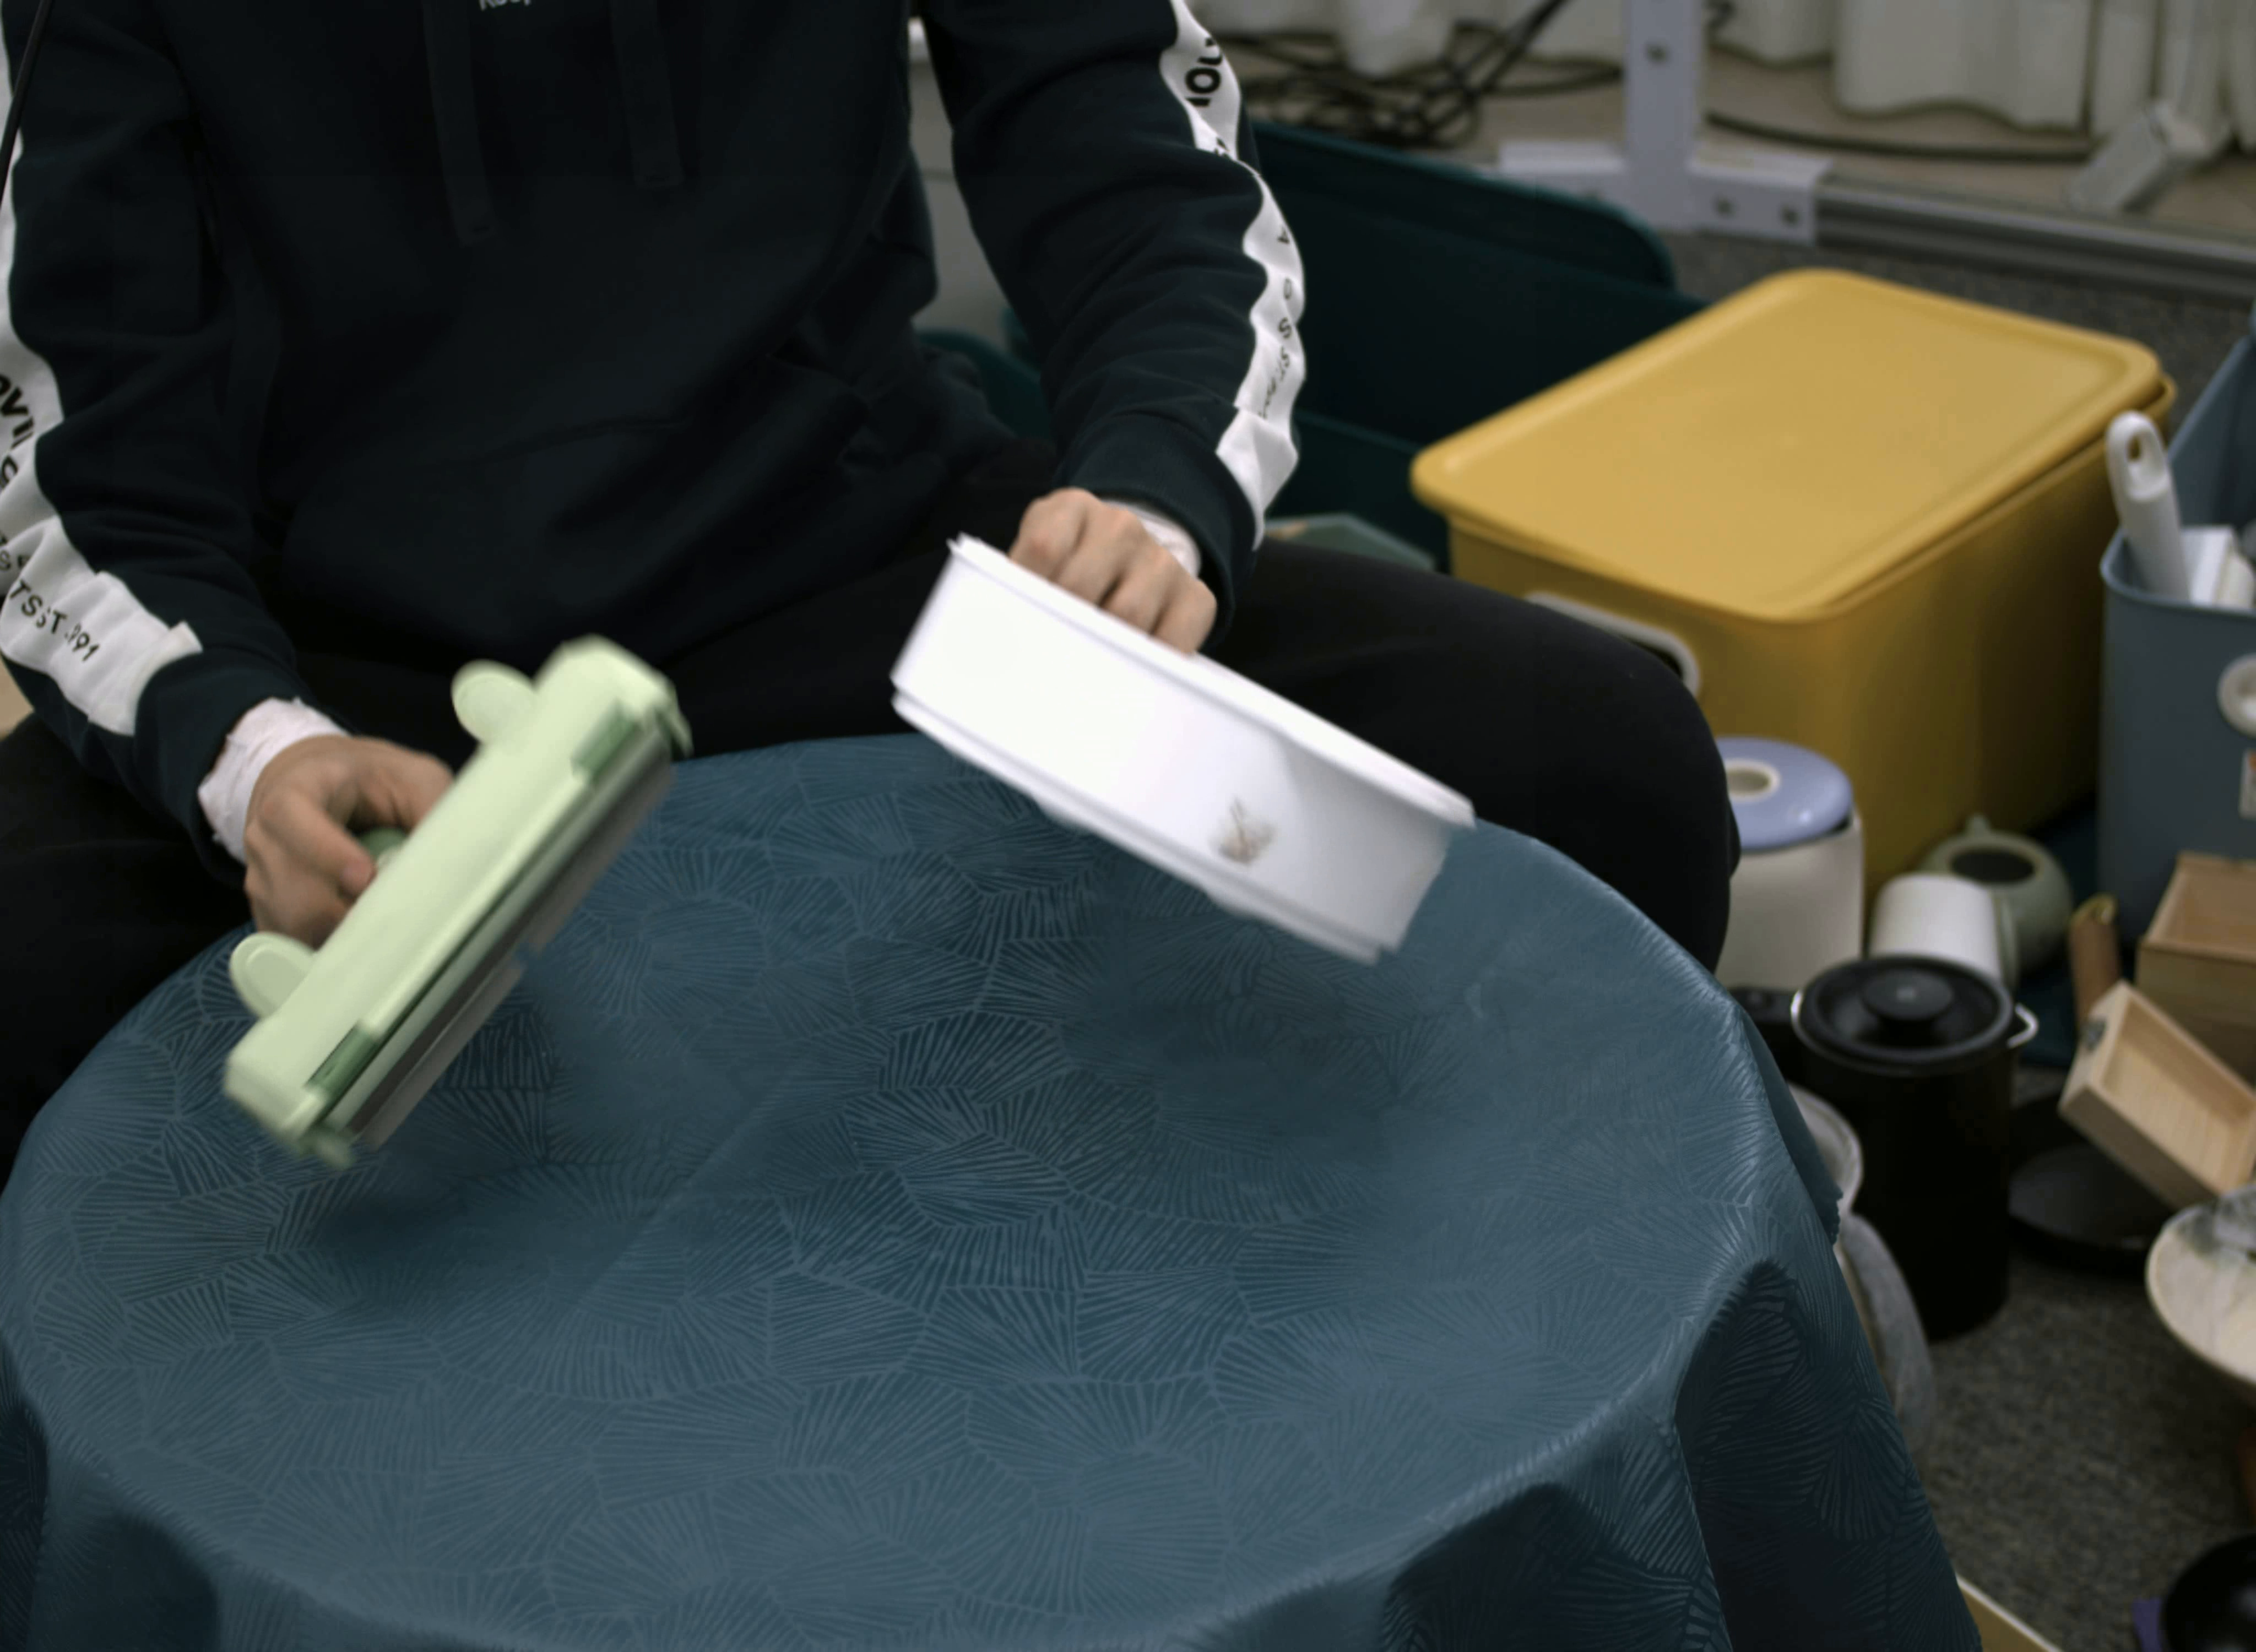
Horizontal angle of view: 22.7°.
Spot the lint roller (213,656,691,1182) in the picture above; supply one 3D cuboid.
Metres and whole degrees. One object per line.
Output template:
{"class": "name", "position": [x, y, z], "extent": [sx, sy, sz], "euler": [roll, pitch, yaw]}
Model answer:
{"class": "lint roller", "position": [-0.255, 0.016, 1.906], "extent": [0.200, 0.081, 0.183], "euler": [-50, 31, -13]}

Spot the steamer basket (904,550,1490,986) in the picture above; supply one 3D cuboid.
{"class": "steamer basket", "position": [0.020, -0.017, 1.889], "extent": [0.201, 0.069, 0.231], "euler": [26, 5, -39]}
